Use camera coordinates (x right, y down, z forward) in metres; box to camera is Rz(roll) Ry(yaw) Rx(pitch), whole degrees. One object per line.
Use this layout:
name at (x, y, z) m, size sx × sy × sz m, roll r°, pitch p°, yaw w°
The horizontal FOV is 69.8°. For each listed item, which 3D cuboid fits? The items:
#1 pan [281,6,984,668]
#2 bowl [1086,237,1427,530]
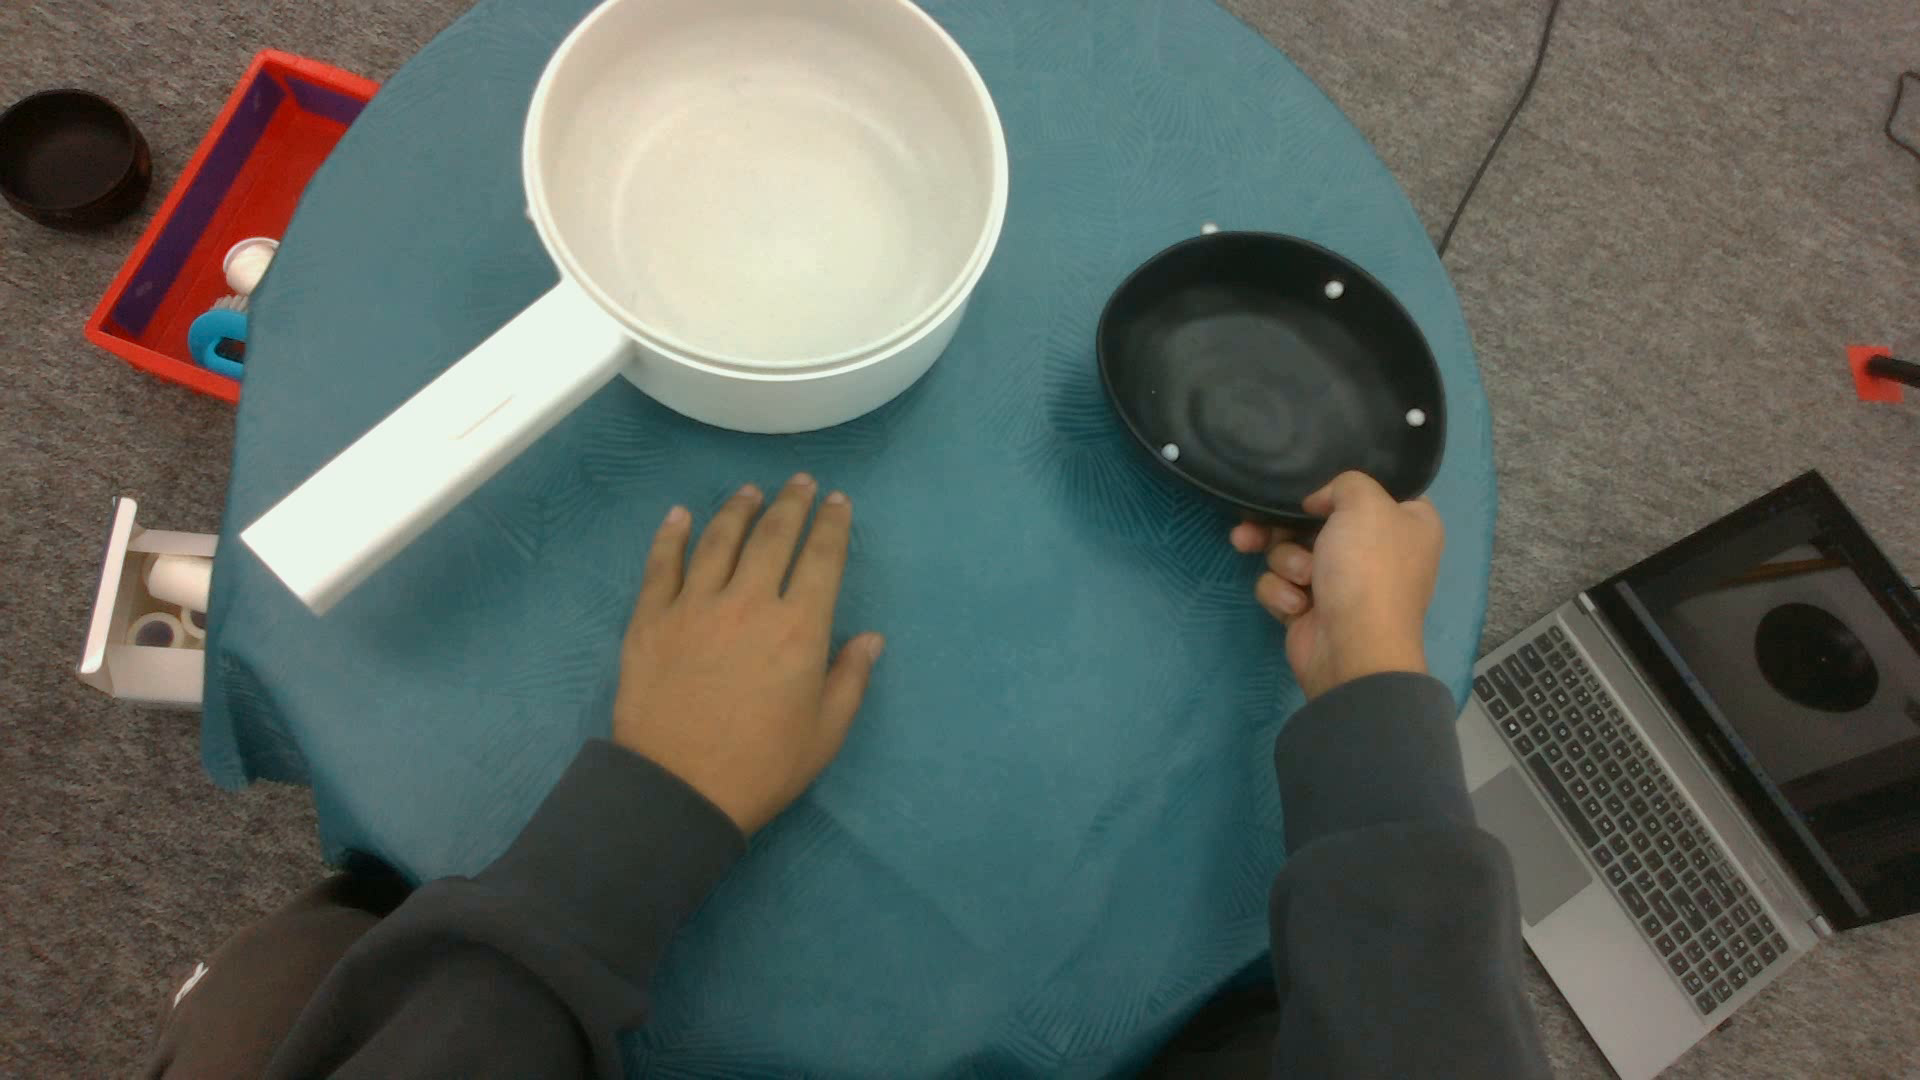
pan at (-0.143, -0.080, 0.626) m, size 0.201 × 0.102 × 0.356 m, roll 41°, pitch 74°, yaw 3°
bowl at (0.139, -0.068, 0.664) m, size 0.170 × 0.066 × 0.138 m, roll 23°, pitch 72°, yaw 3°
